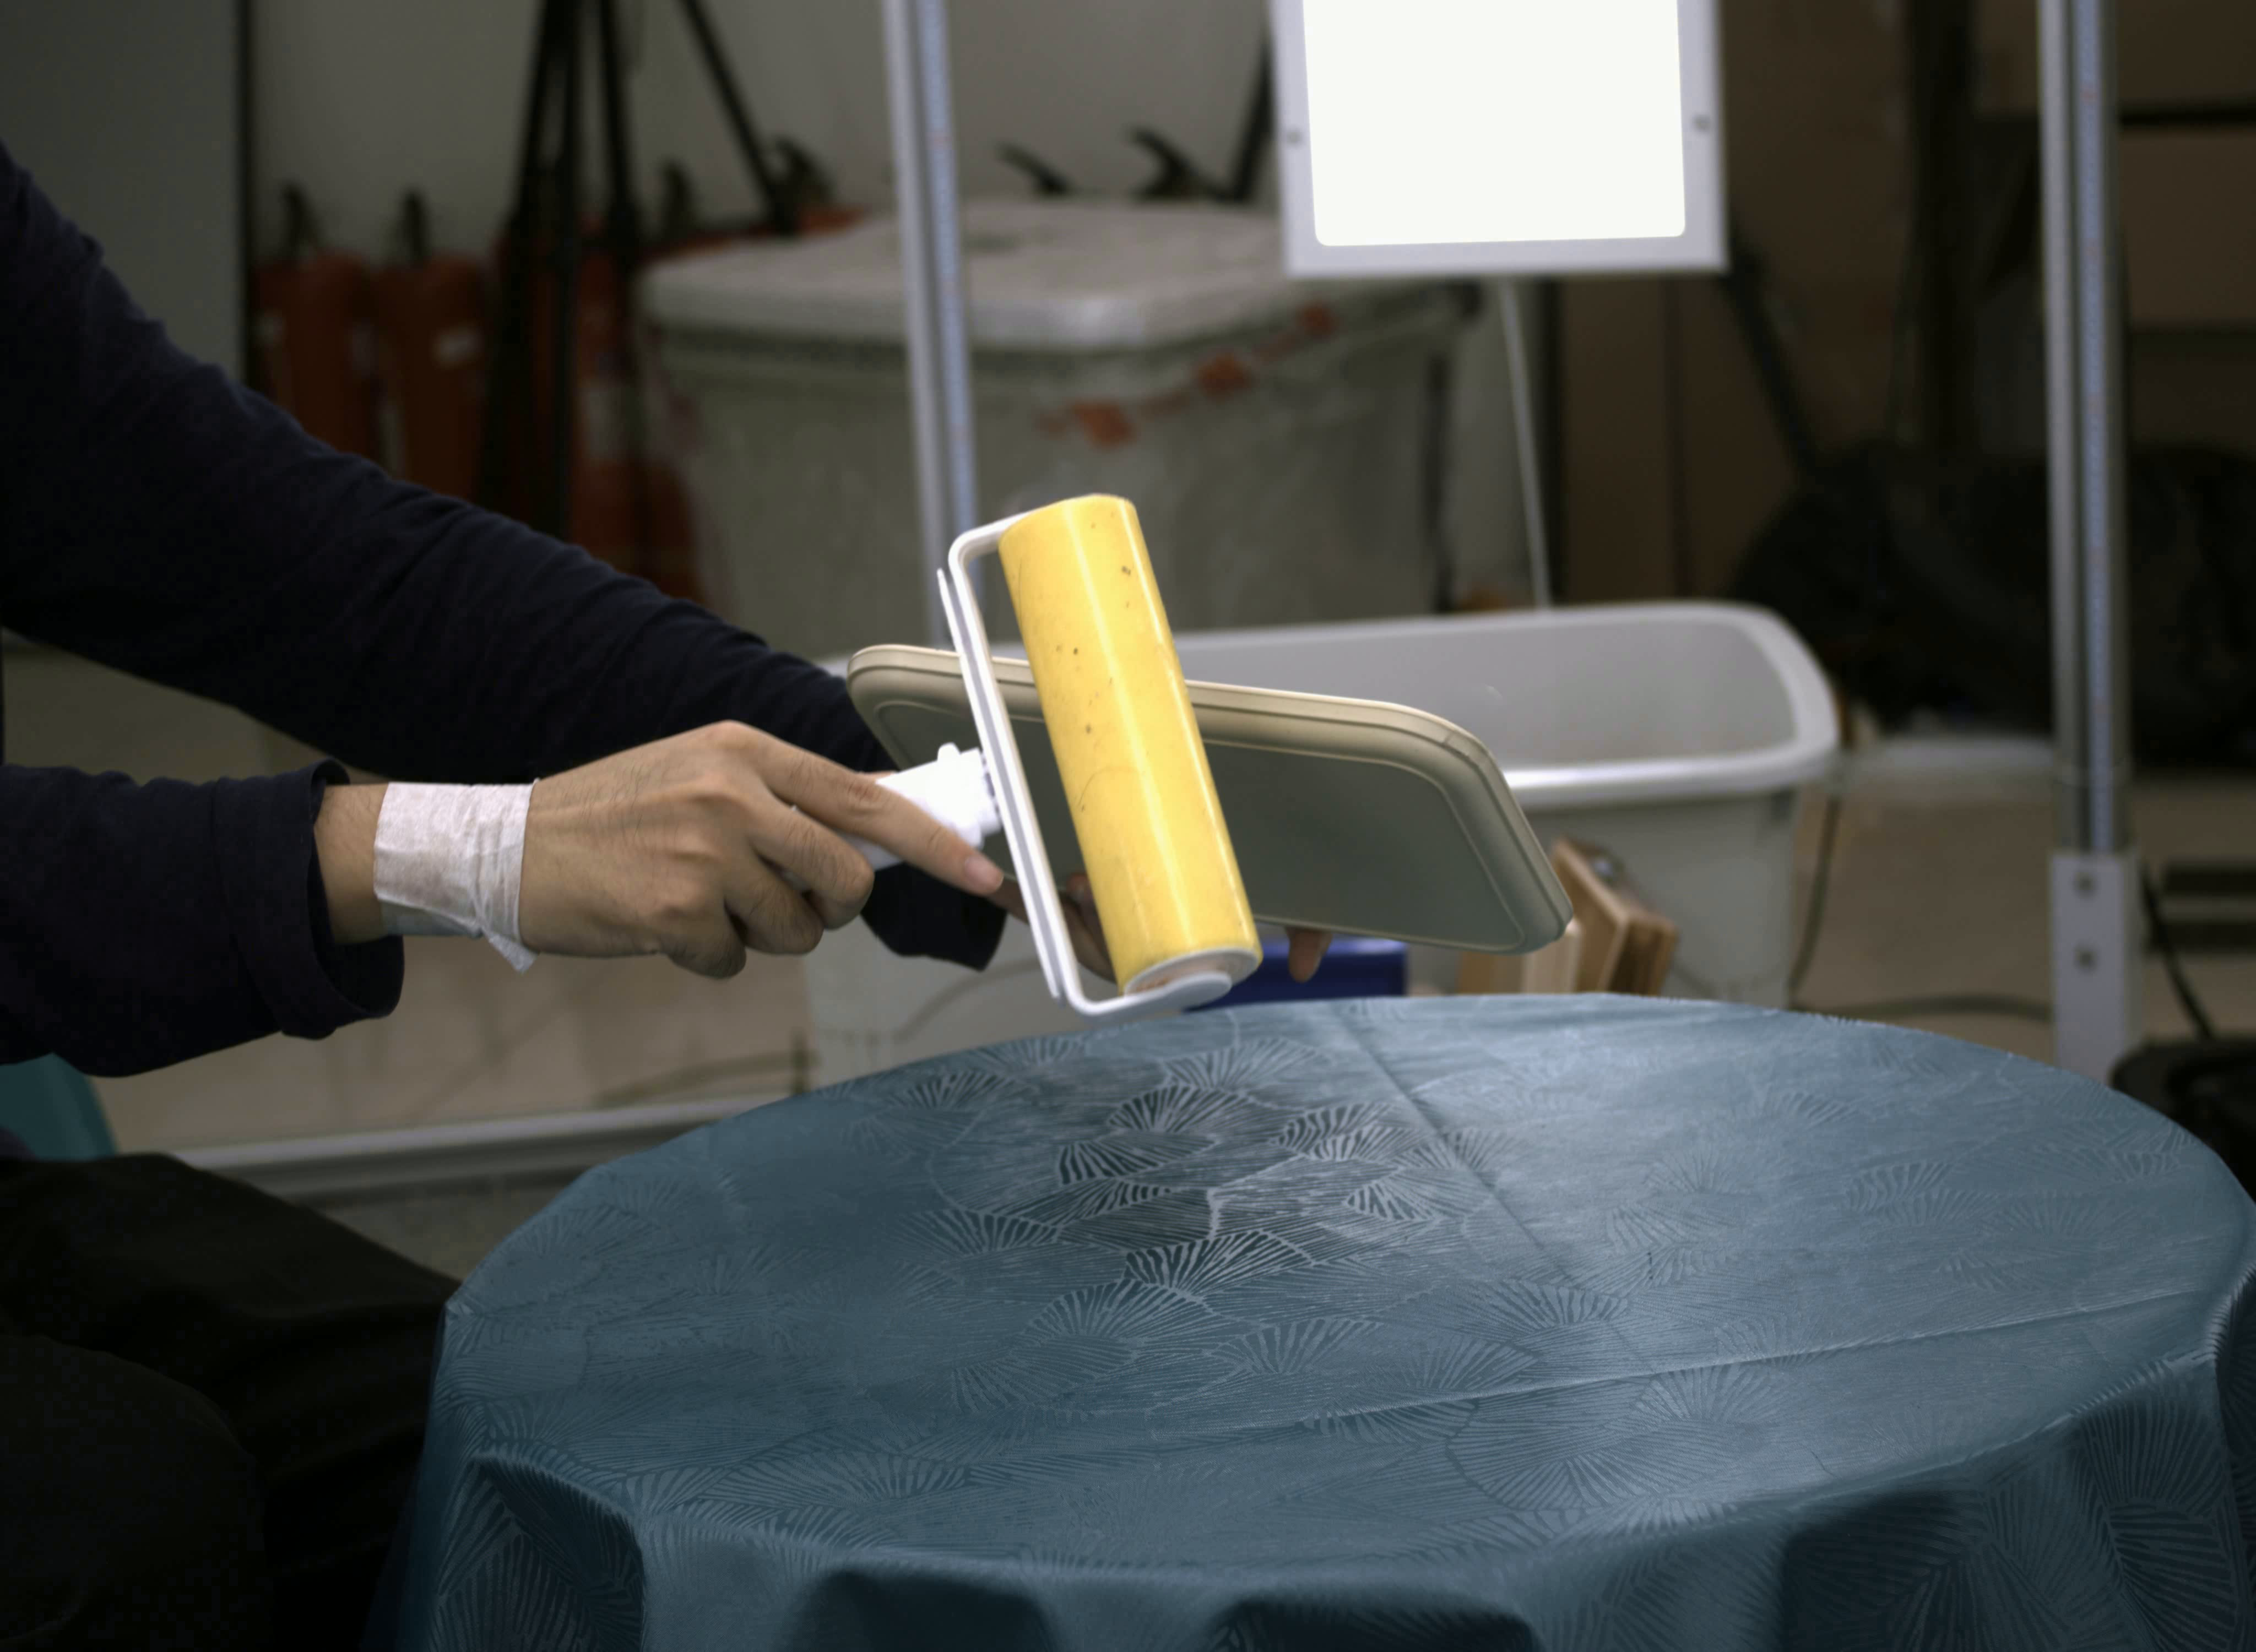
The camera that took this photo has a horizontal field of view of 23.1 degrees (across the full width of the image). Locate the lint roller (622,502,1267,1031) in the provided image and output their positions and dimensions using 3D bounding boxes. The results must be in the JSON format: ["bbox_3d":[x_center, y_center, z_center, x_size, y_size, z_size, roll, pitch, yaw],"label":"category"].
[{"bbox_3d":[-0.069,-0.003,1.757,0.191,0.175,0.051,-15,-21,-4],"label":"lint roller"}]

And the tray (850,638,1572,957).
[{"bbox_3d":[0.028,-0.007,1.907,0.243,0.017,0.170,7,-26,25],"label":"tray"}]
